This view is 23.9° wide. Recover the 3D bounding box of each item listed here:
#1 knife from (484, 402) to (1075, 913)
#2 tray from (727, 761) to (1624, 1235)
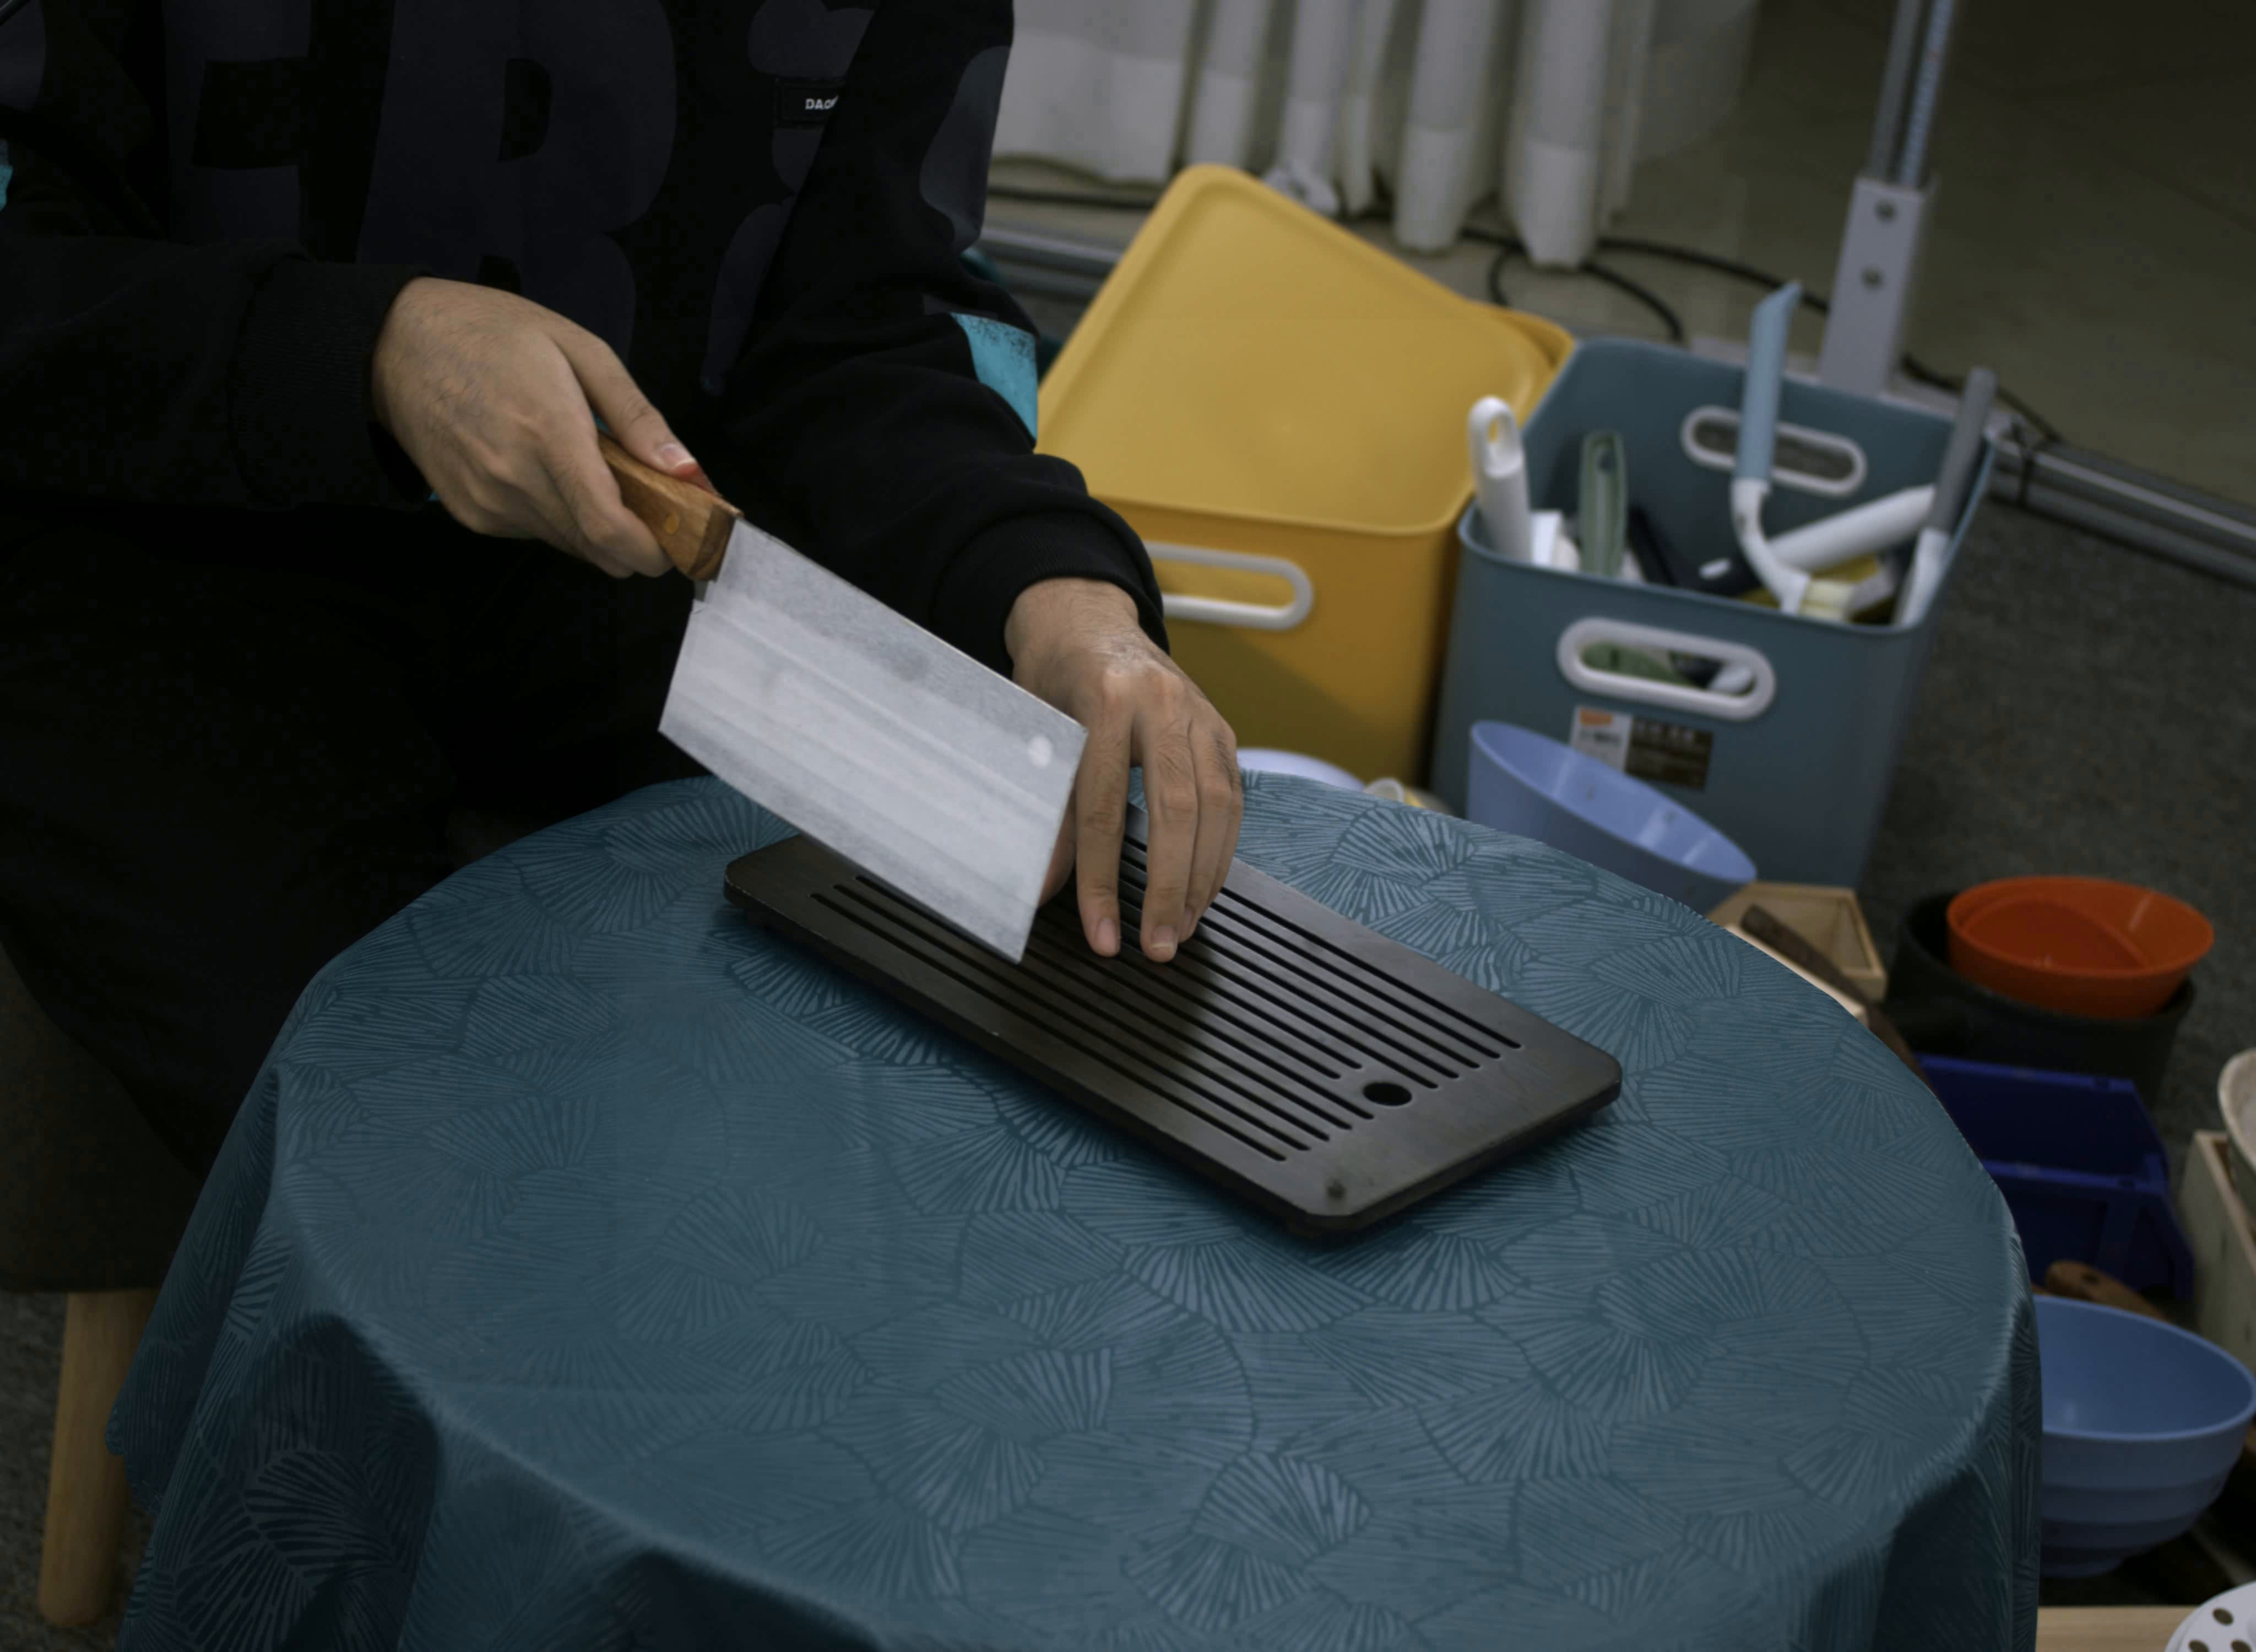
[{"bbox_3d":[-0.132,-0.058,1.878,0.308,0.093,0.021,31,24,36],"label":"knife"},{"bbox_3d":[0.014,0.057,1.916,0.308,0.018,0.169,28,34,36],"label":"tray"}]
